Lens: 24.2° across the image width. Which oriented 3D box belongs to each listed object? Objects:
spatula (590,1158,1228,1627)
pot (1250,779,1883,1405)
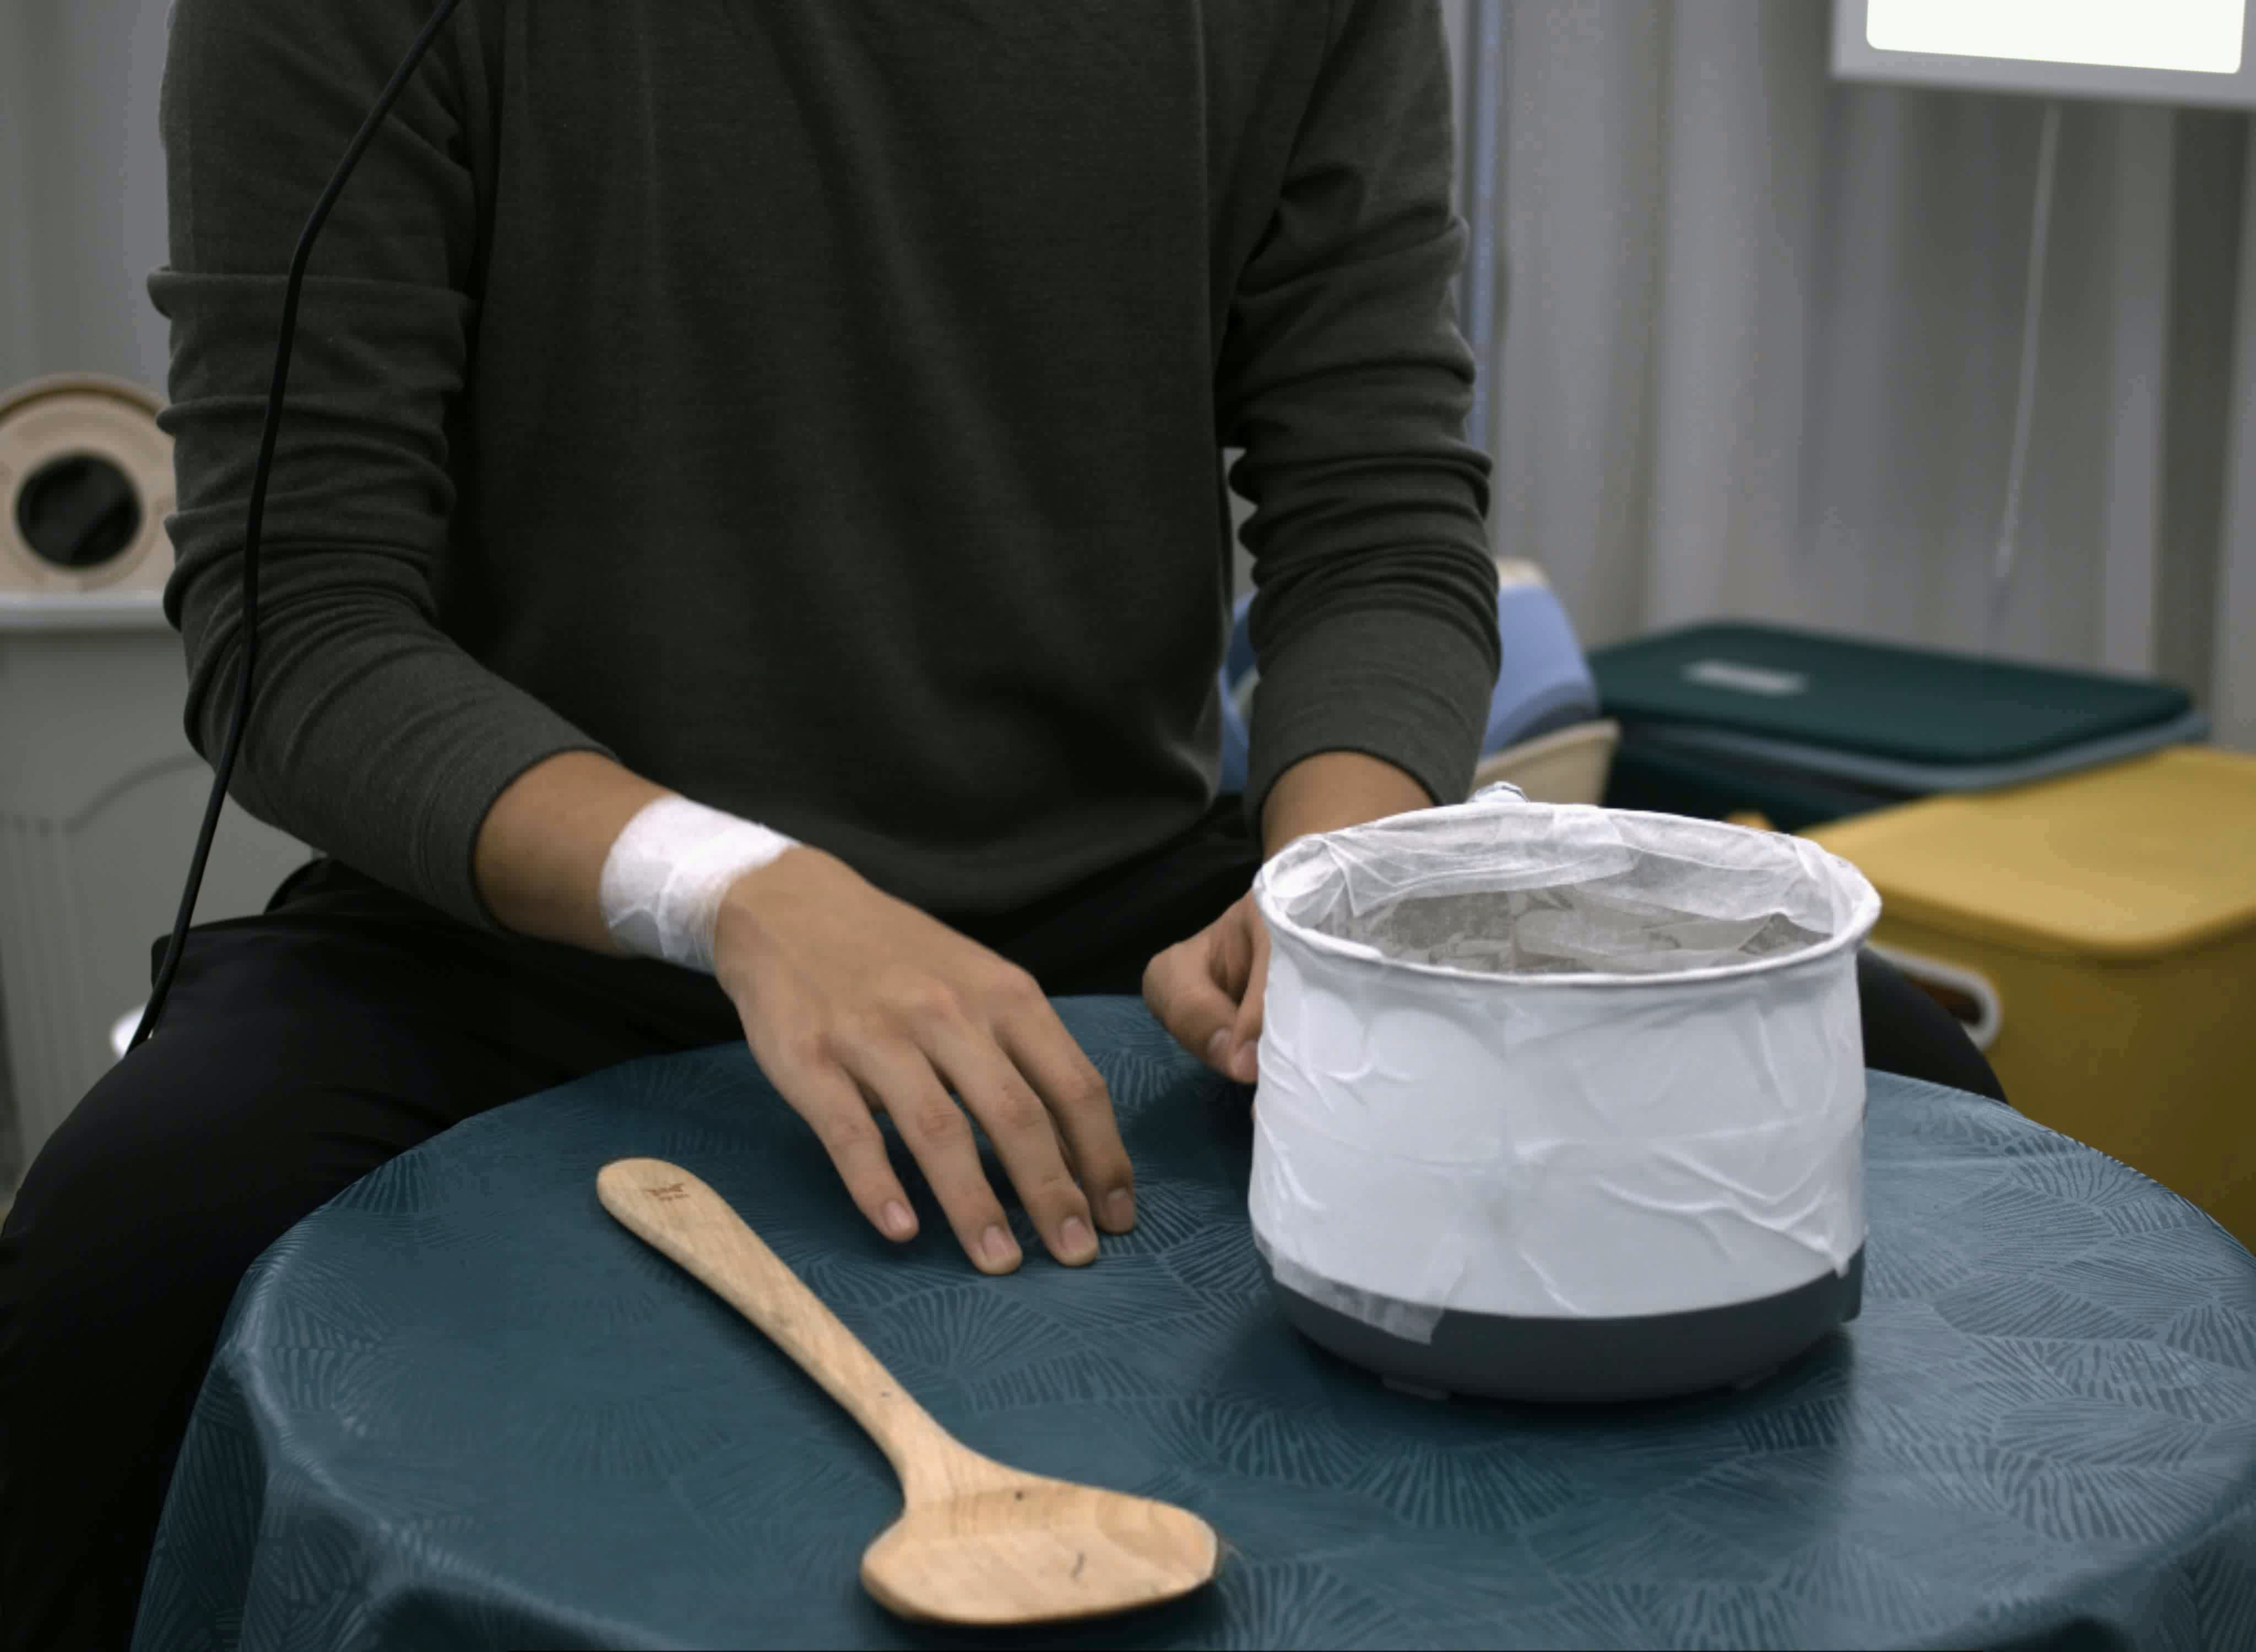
[{"bbox_3d":[-0.086,0.150,1.452,0.096,0.018,0.386,-4,16,-23],"label":"spatula"},{"bbox_3d":[0.119,0.071,1.521,0.178,0.138,0.232,-1,16,-8],"label":"pot"}]
